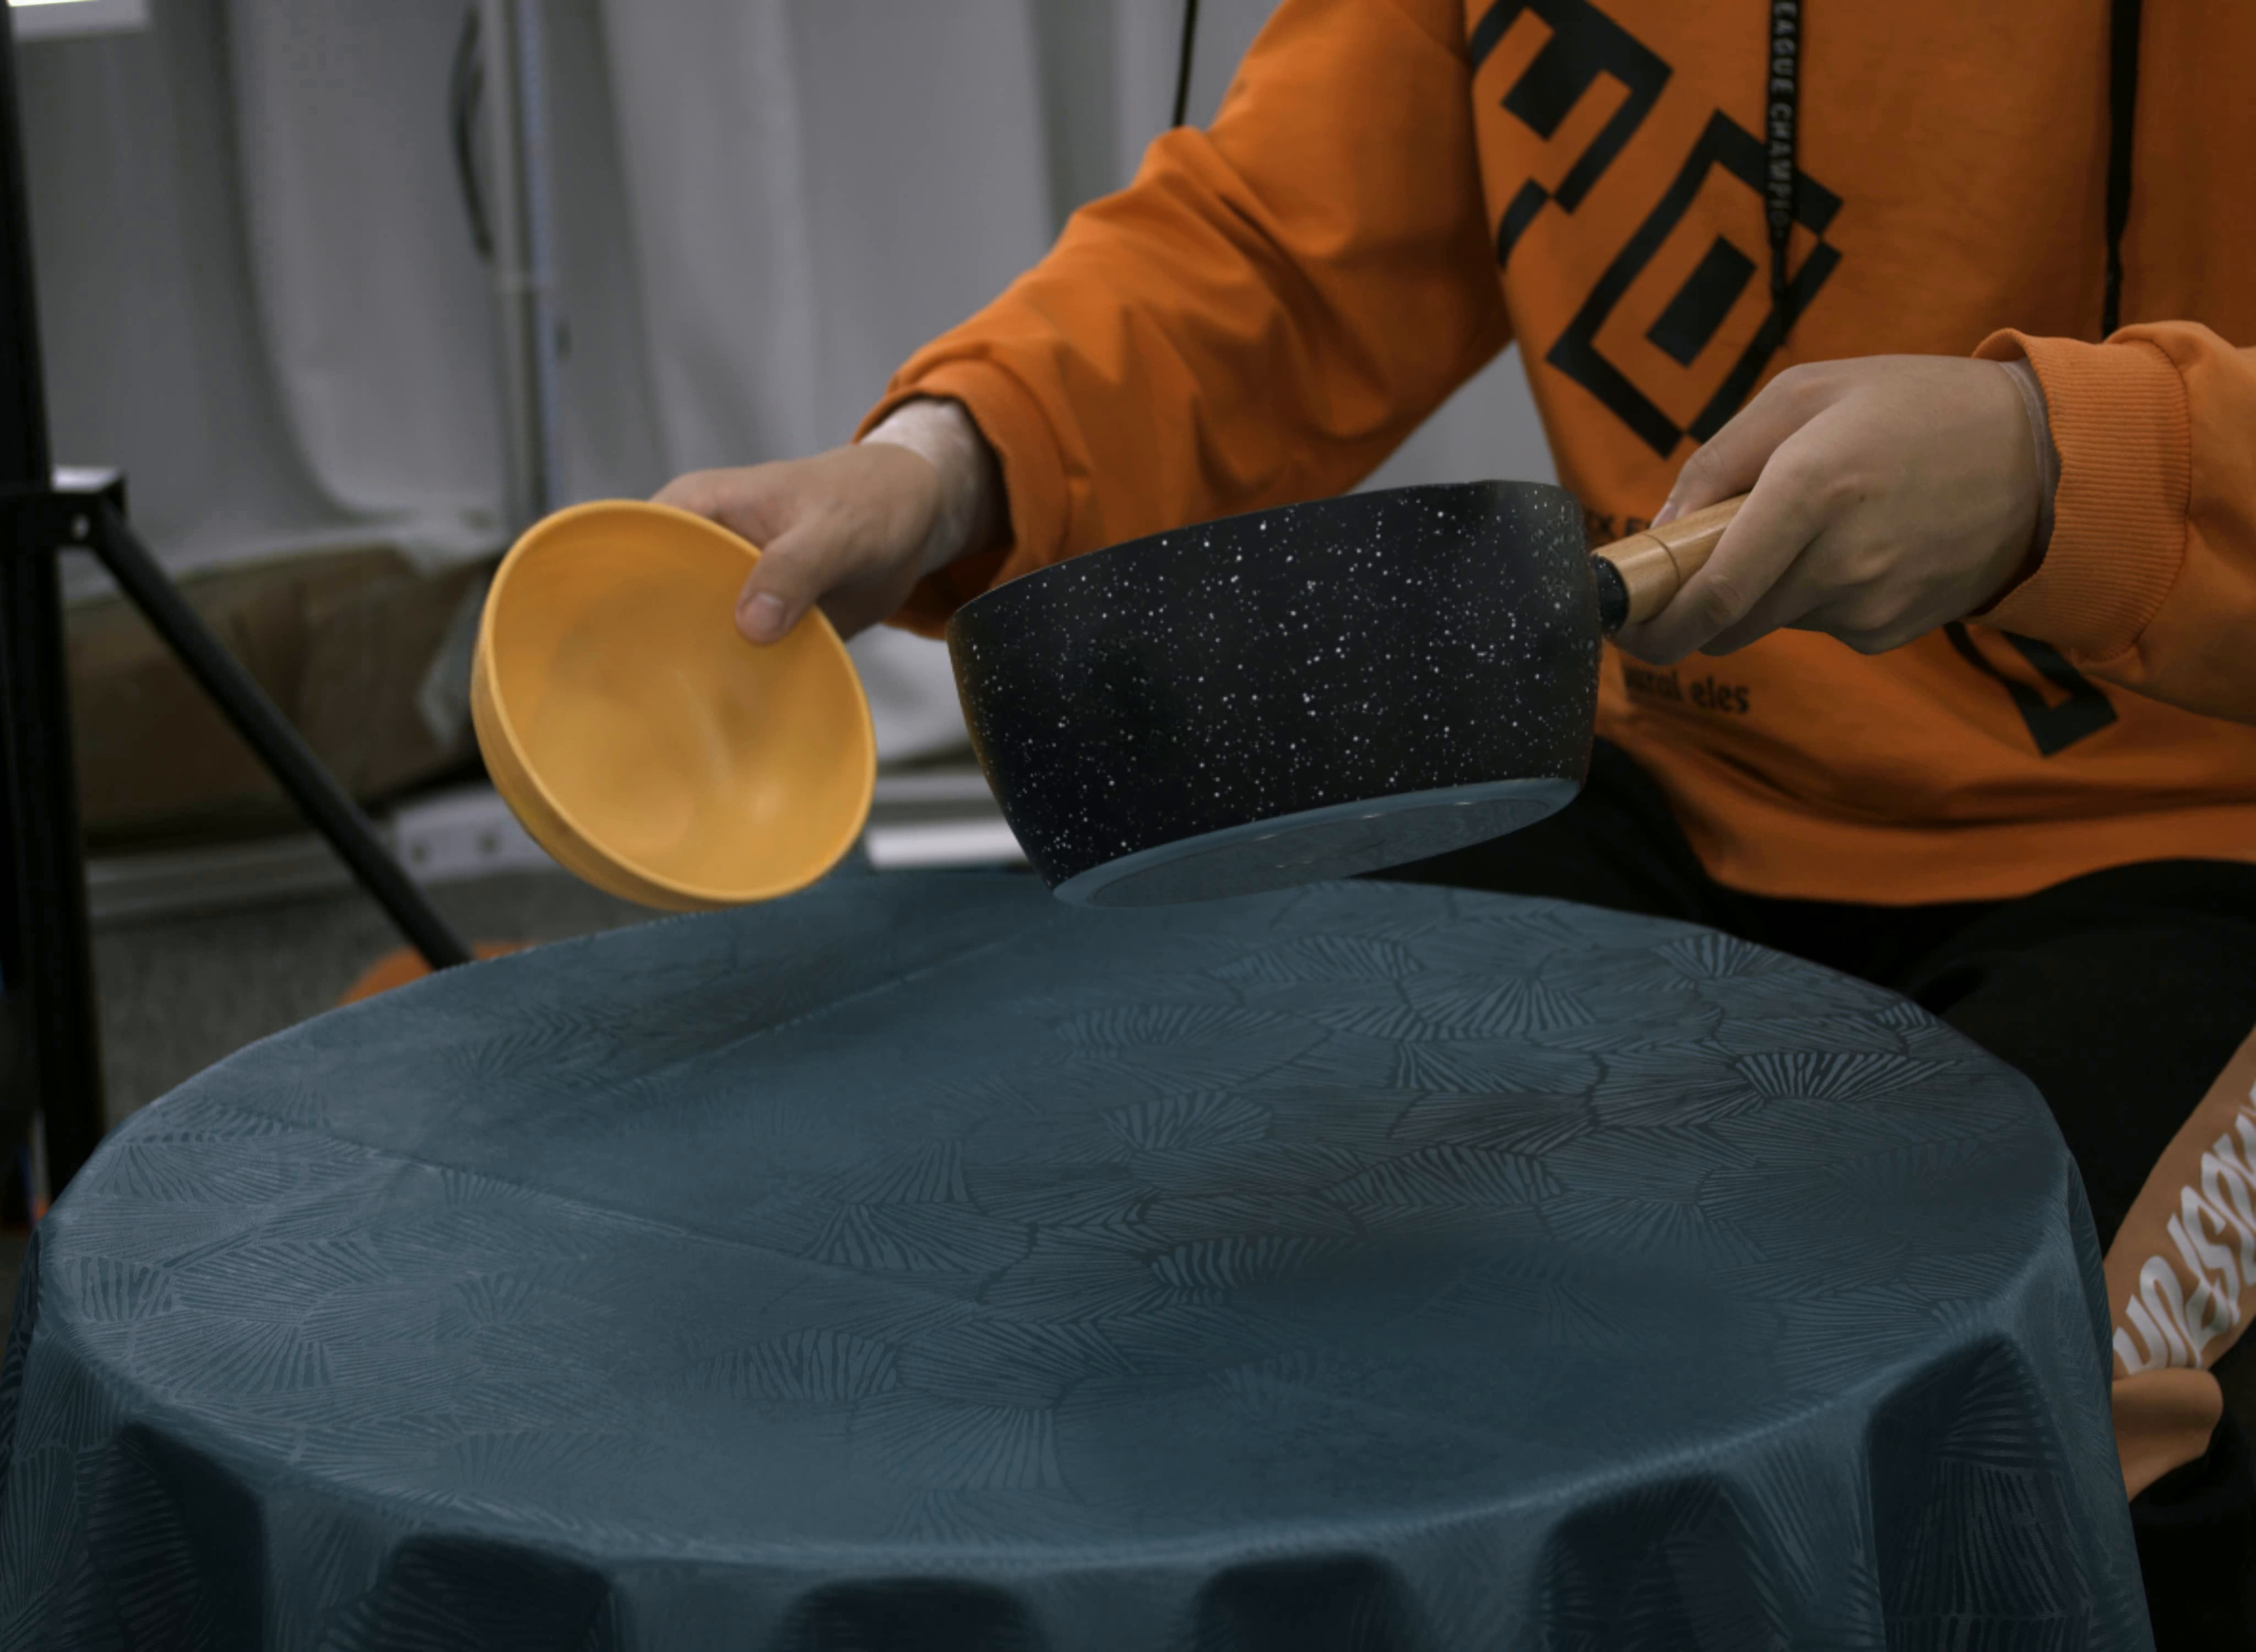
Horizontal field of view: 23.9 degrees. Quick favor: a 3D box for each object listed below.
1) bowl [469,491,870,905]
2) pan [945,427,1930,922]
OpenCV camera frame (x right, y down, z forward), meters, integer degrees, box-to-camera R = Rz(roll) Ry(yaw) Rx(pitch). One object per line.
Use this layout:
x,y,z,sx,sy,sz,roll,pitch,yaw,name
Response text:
-0.159,-0.031,1.729,0.142,0.147,0.061,-18,-16,-44,bowl
0.109,-0.050,1.540,0.334,0.109,0.211,-7,-10,-34,pan
